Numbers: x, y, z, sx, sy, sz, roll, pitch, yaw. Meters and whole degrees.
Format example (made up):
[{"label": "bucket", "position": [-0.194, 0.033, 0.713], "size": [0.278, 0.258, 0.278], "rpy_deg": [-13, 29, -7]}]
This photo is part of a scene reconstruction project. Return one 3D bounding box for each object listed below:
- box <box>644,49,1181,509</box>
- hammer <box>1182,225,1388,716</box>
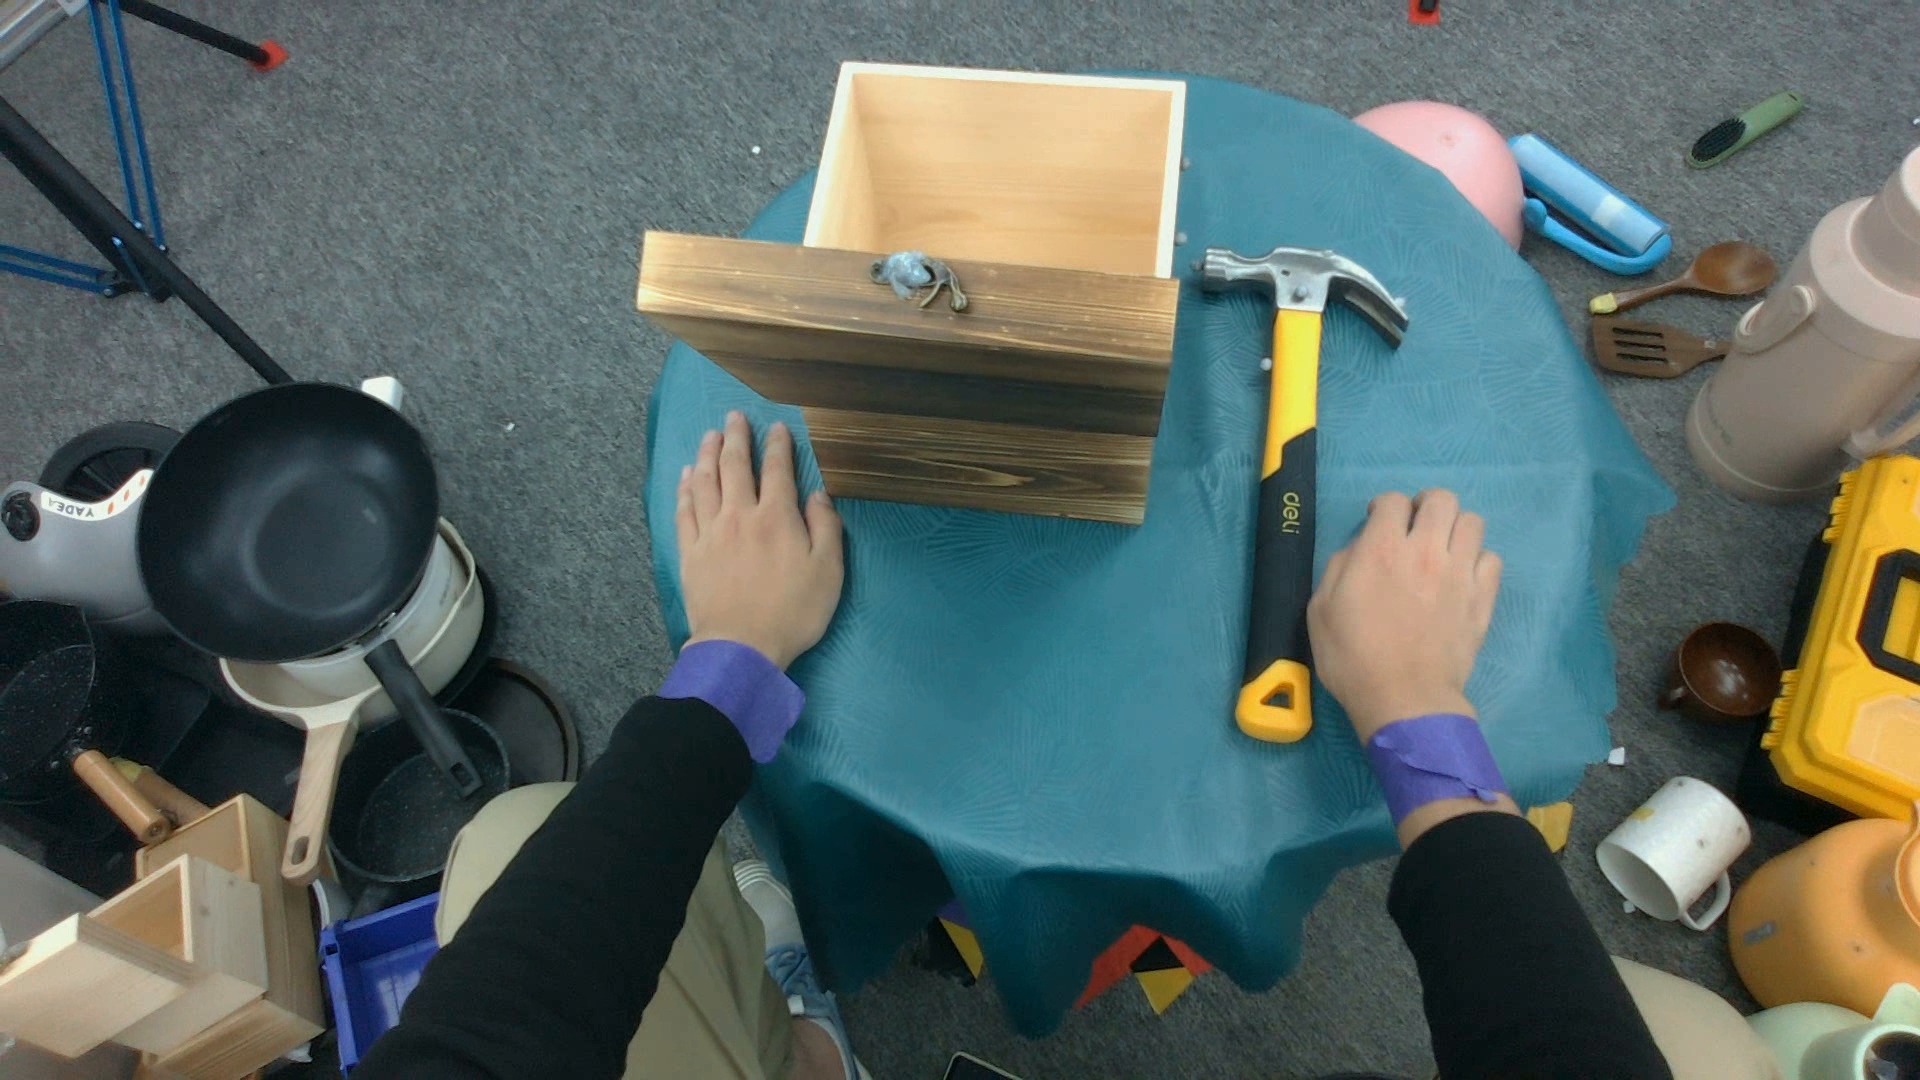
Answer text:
[{"label": "box", "position": [0.002, -0.151, 0.724], "size": [0.208, 0.374, 0.323], "rpy_deg": [5, 64, 5]}, {"label": "hammer", "position": [0.191, -0.054, 0.842], "size": [0.131, 0.032, 0.340], "rpy_deg": [7, 63, 6]}]
